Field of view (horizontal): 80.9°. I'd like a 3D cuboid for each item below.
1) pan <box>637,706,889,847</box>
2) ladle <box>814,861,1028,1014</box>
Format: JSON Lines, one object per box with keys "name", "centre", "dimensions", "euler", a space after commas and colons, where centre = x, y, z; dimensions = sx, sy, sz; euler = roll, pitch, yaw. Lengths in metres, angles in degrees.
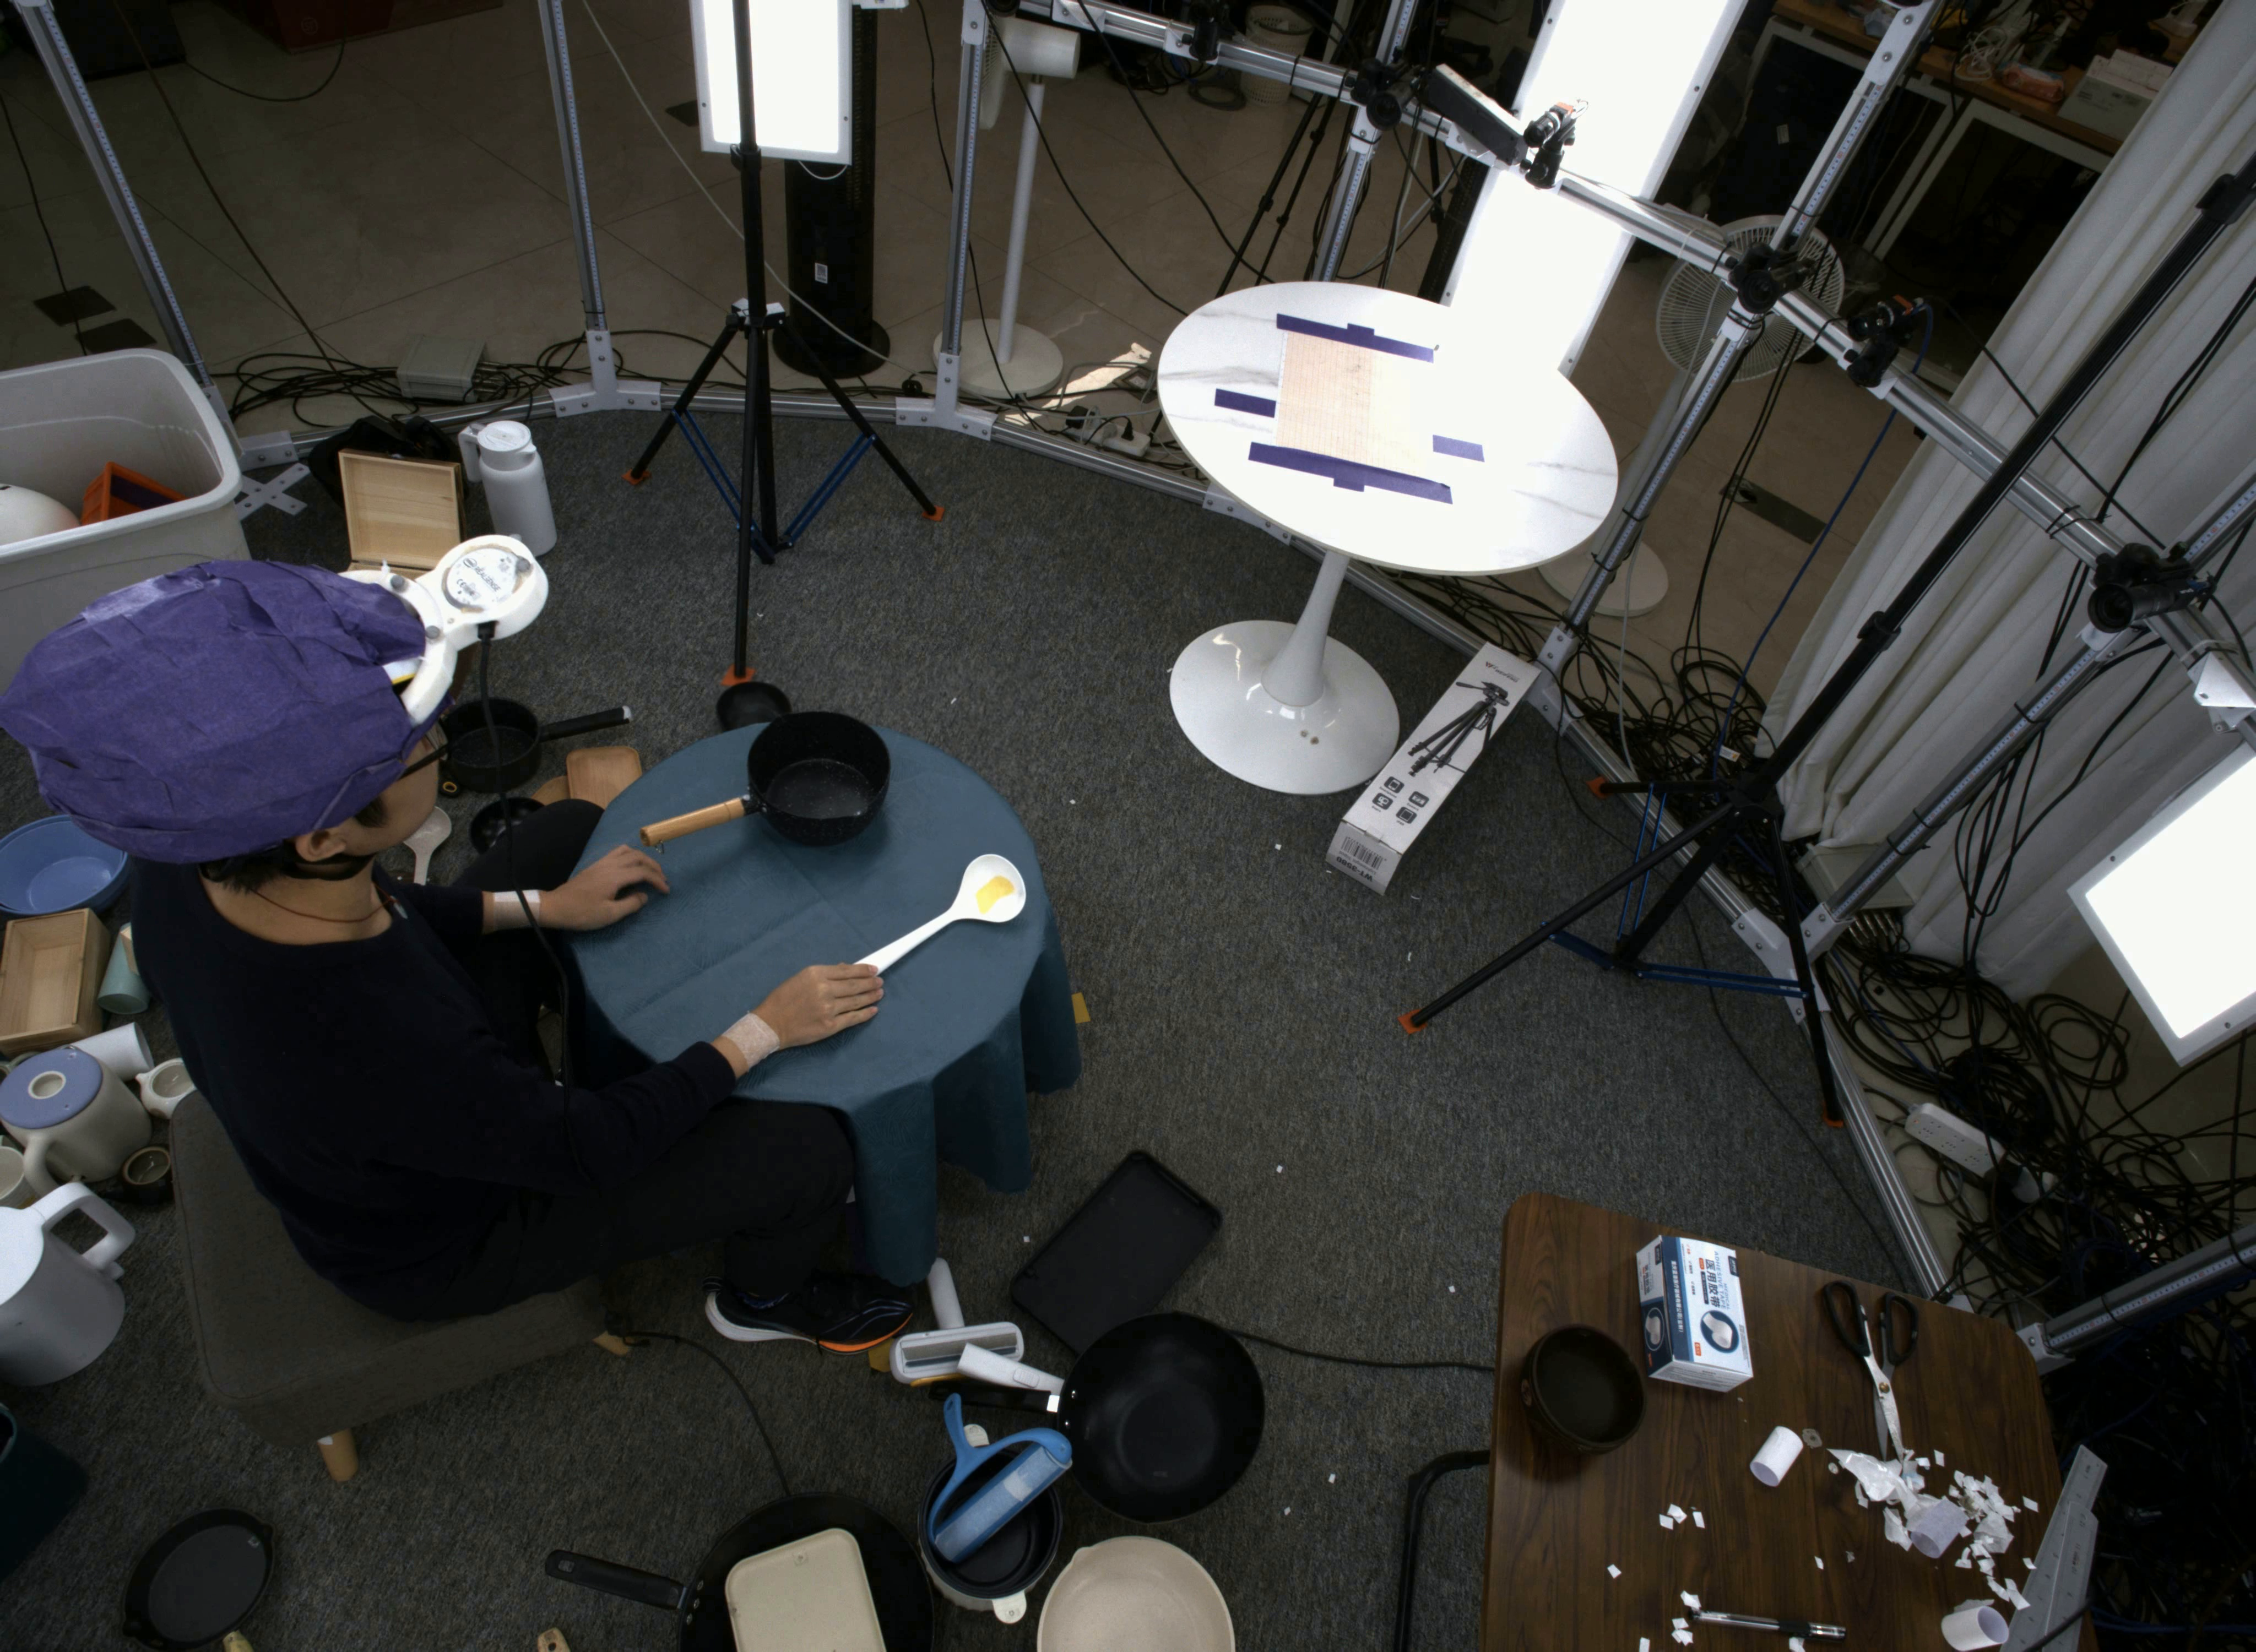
{"name": "pan", "centre": [-0.465, -0.031, 1.656], "dimensions": [0.344, 0.110, 0.203], "euler": [-31, 67, -33]}
{"name": "ladle", "centre": [-0.255, 0.141, 1.619], "dimensions": [0.294, 0.068, 0.091], "euler": [-32, 98, -31]}
